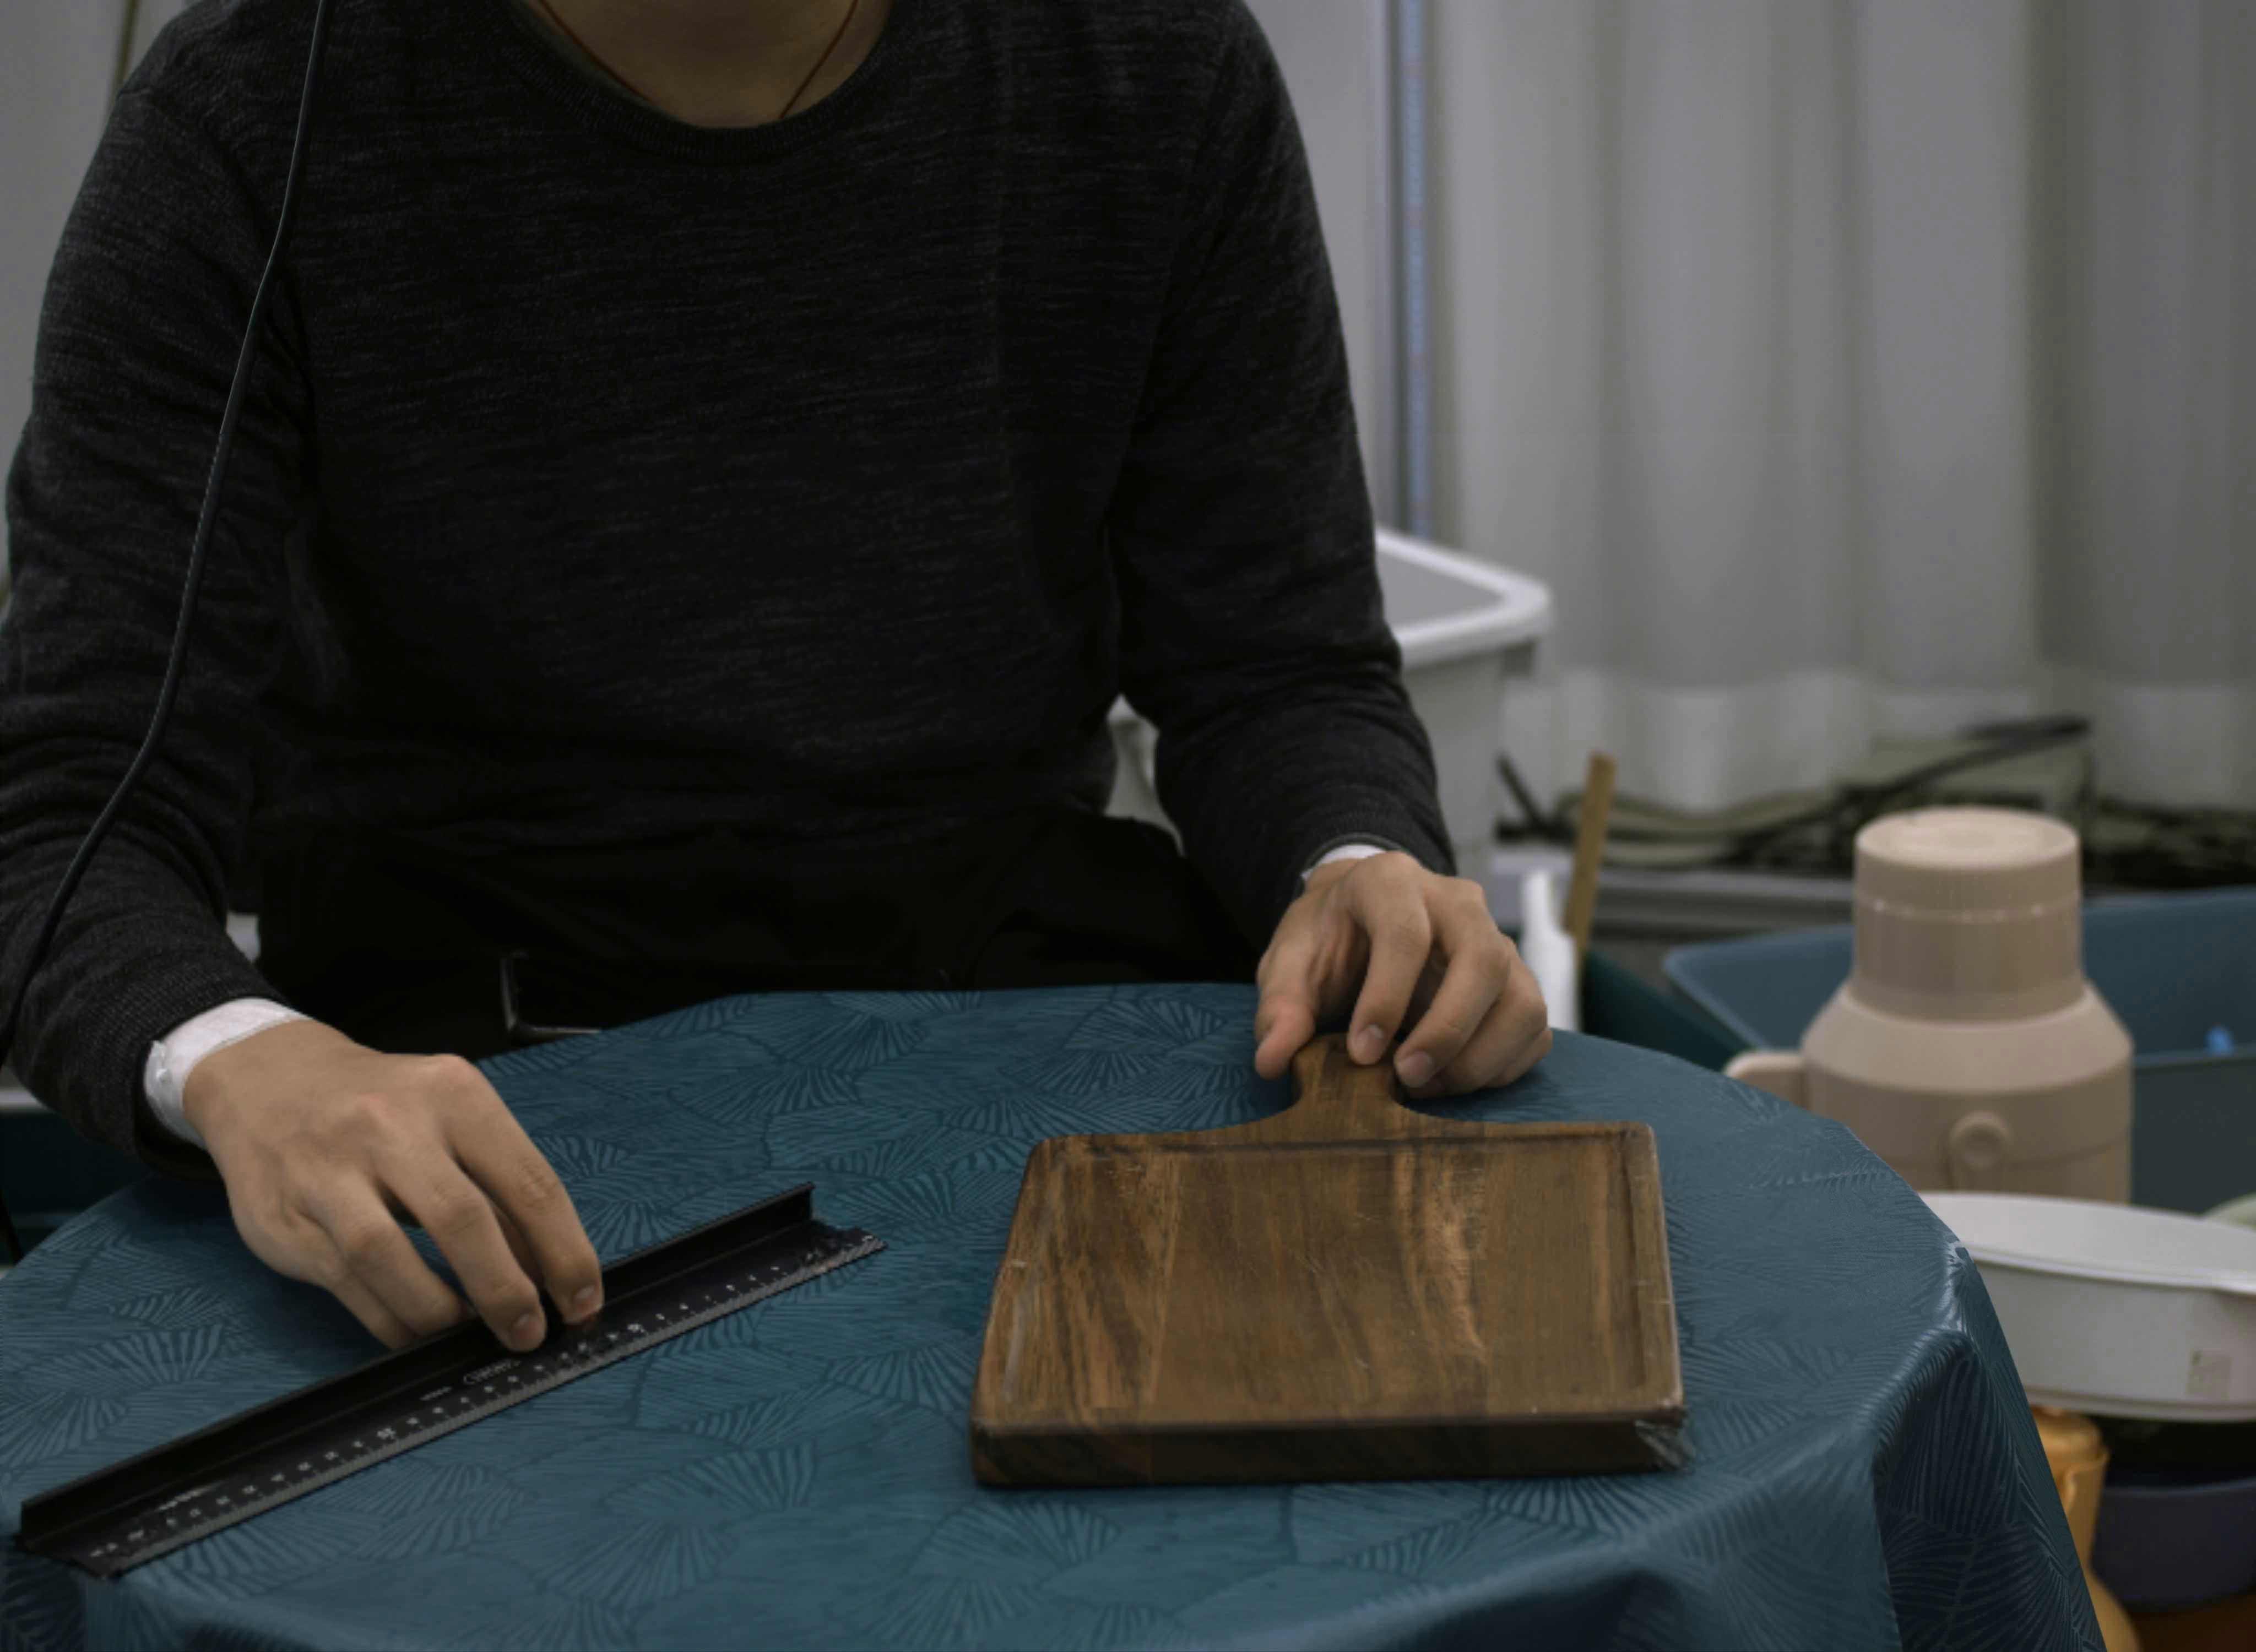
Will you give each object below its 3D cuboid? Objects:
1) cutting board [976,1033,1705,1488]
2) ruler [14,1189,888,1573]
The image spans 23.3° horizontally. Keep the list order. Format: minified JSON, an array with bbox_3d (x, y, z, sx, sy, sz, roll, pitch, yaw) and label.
[{"bbox_3d":[0.063,0.122,1.633,0.200,0.023,0.354,-2,14,4],"label":"cutting board"},{"bbox_3d":[-0.186,0.155,1.568,0.039,0.017,0.312,12,21,39],"label":"ruler"}]
